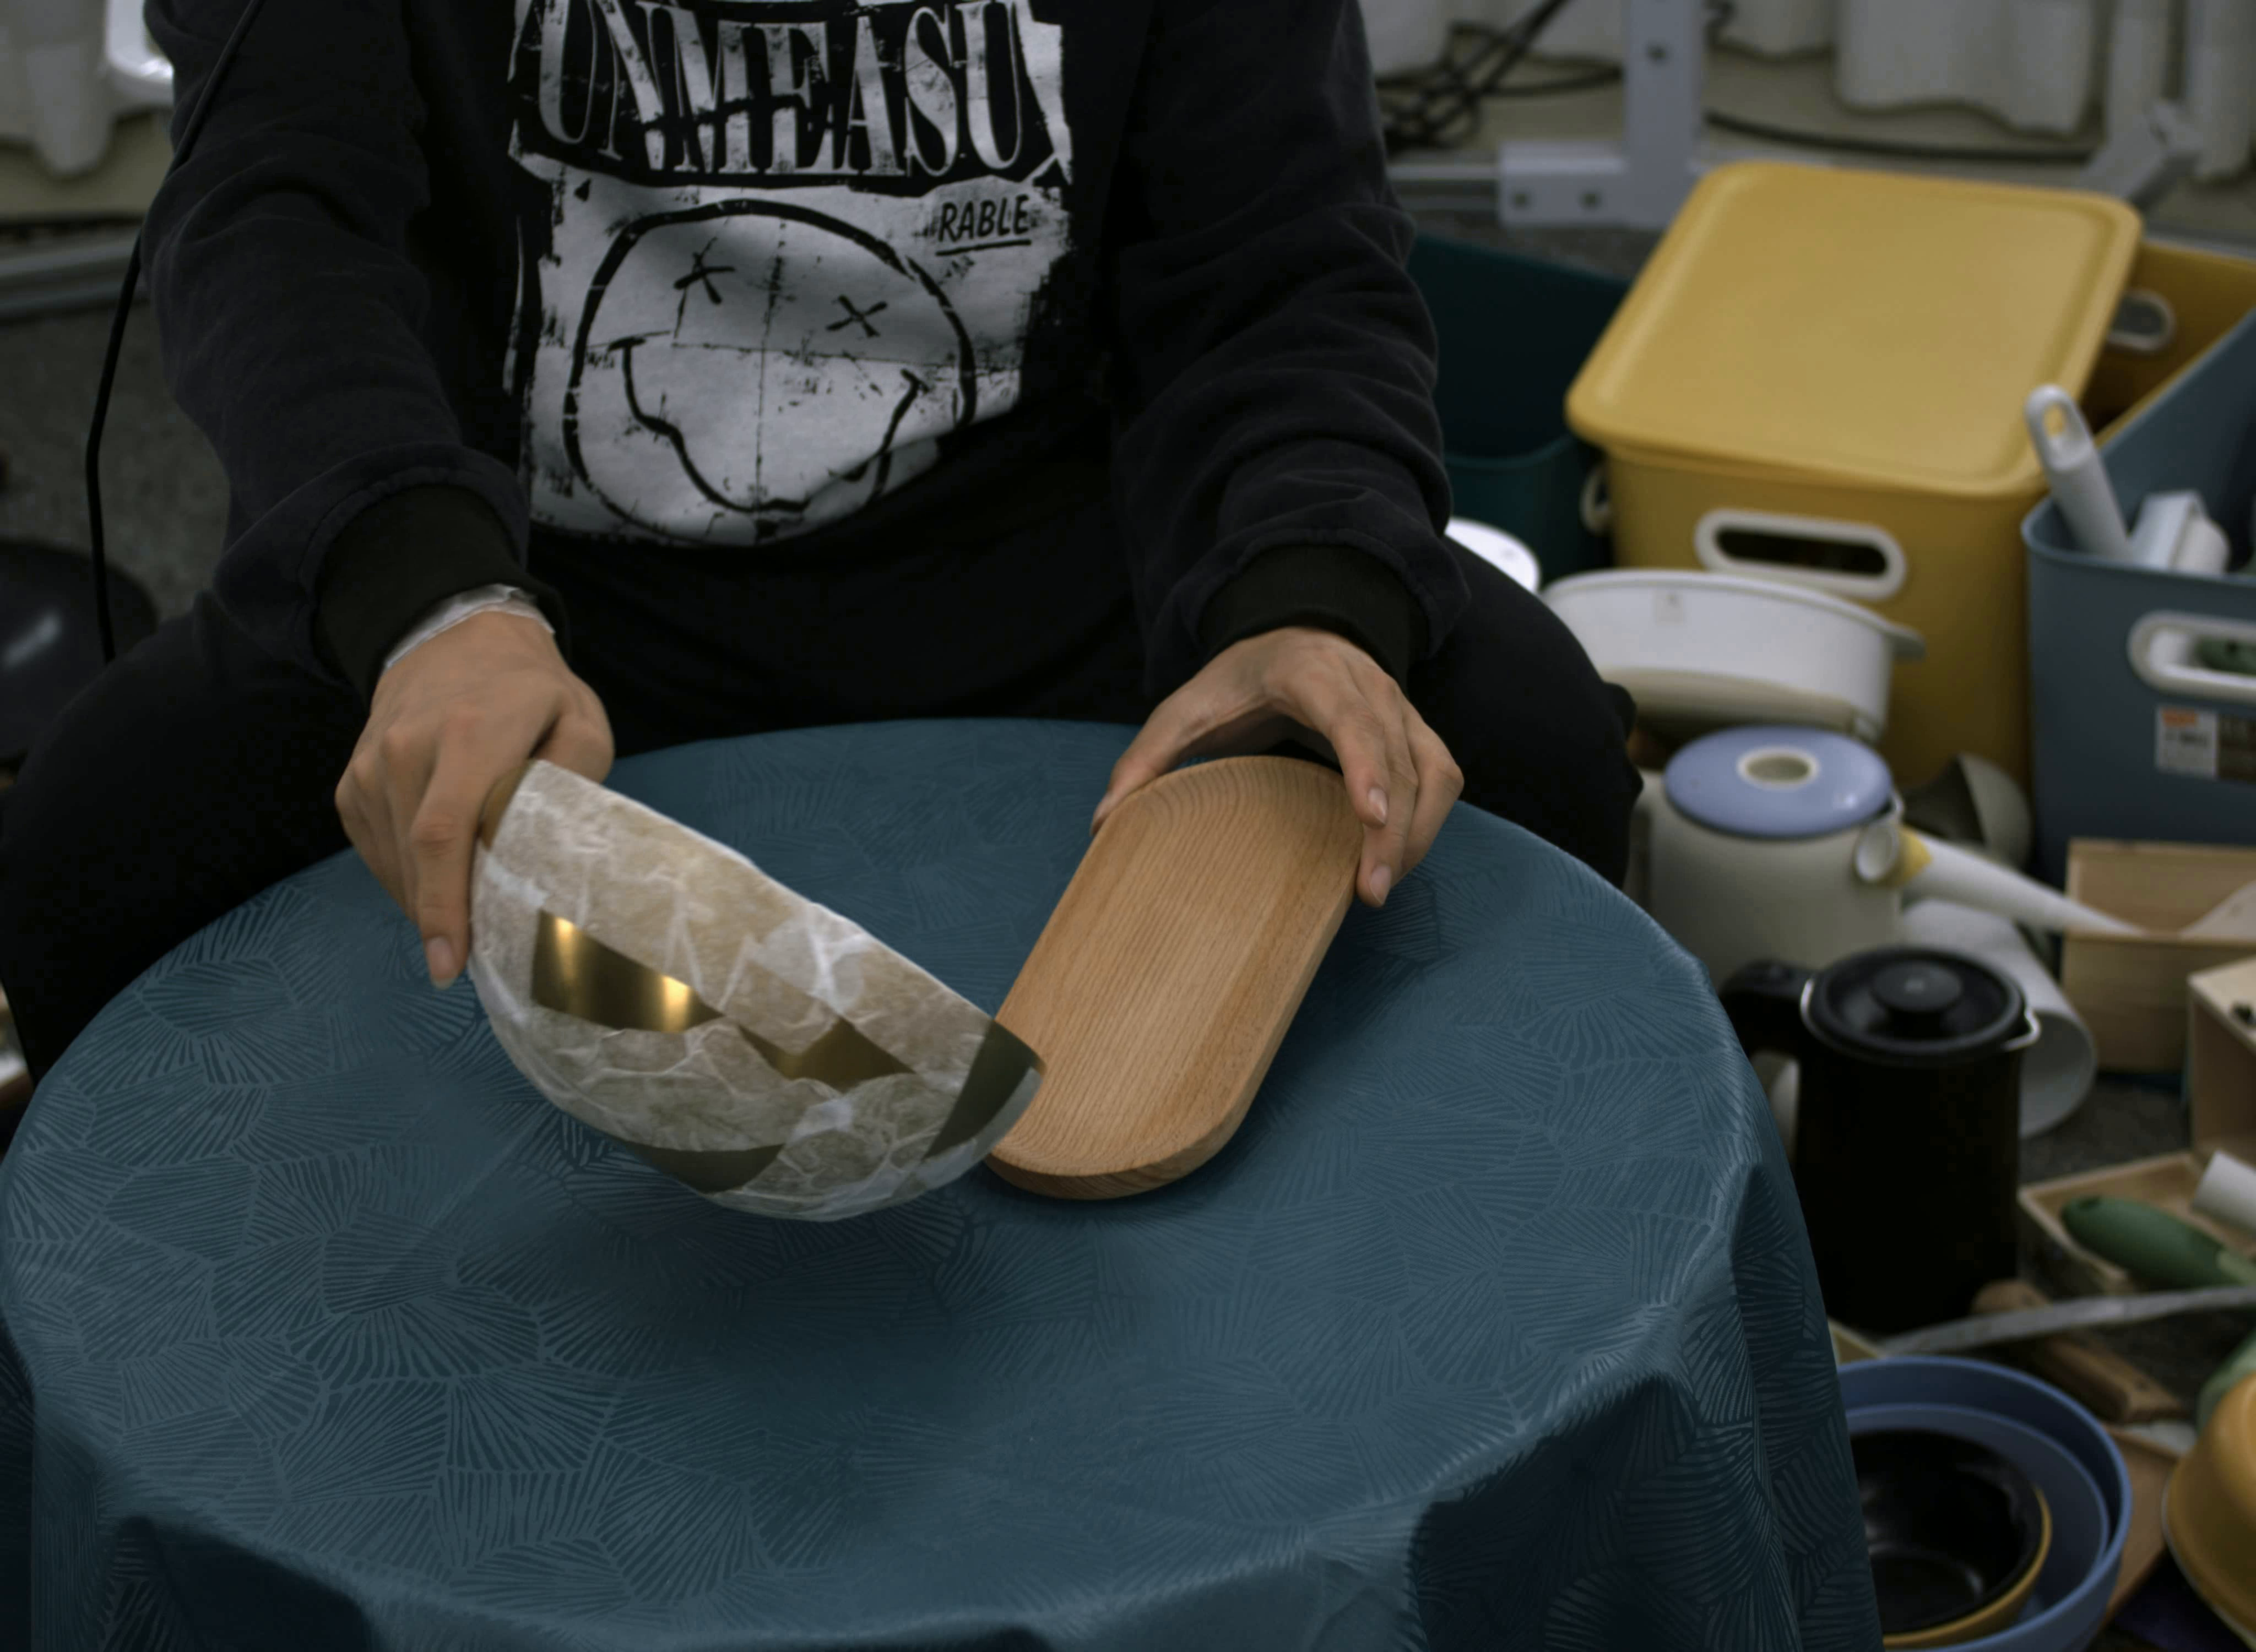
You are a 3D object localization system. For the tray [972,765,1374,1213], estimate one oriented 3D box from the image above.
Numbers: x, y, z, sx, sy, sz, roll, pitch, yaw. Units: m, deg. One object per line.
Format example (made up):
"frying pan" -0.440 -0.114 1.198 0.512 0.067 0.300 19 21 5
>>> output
"tray" 0.017 0.054 1.933 0.101 0.020 0.236 2 39 21

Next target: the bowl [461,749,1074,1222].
"bowl" -0.131 0.068 1.786 0.214 0.213 0.095 22 80 39
